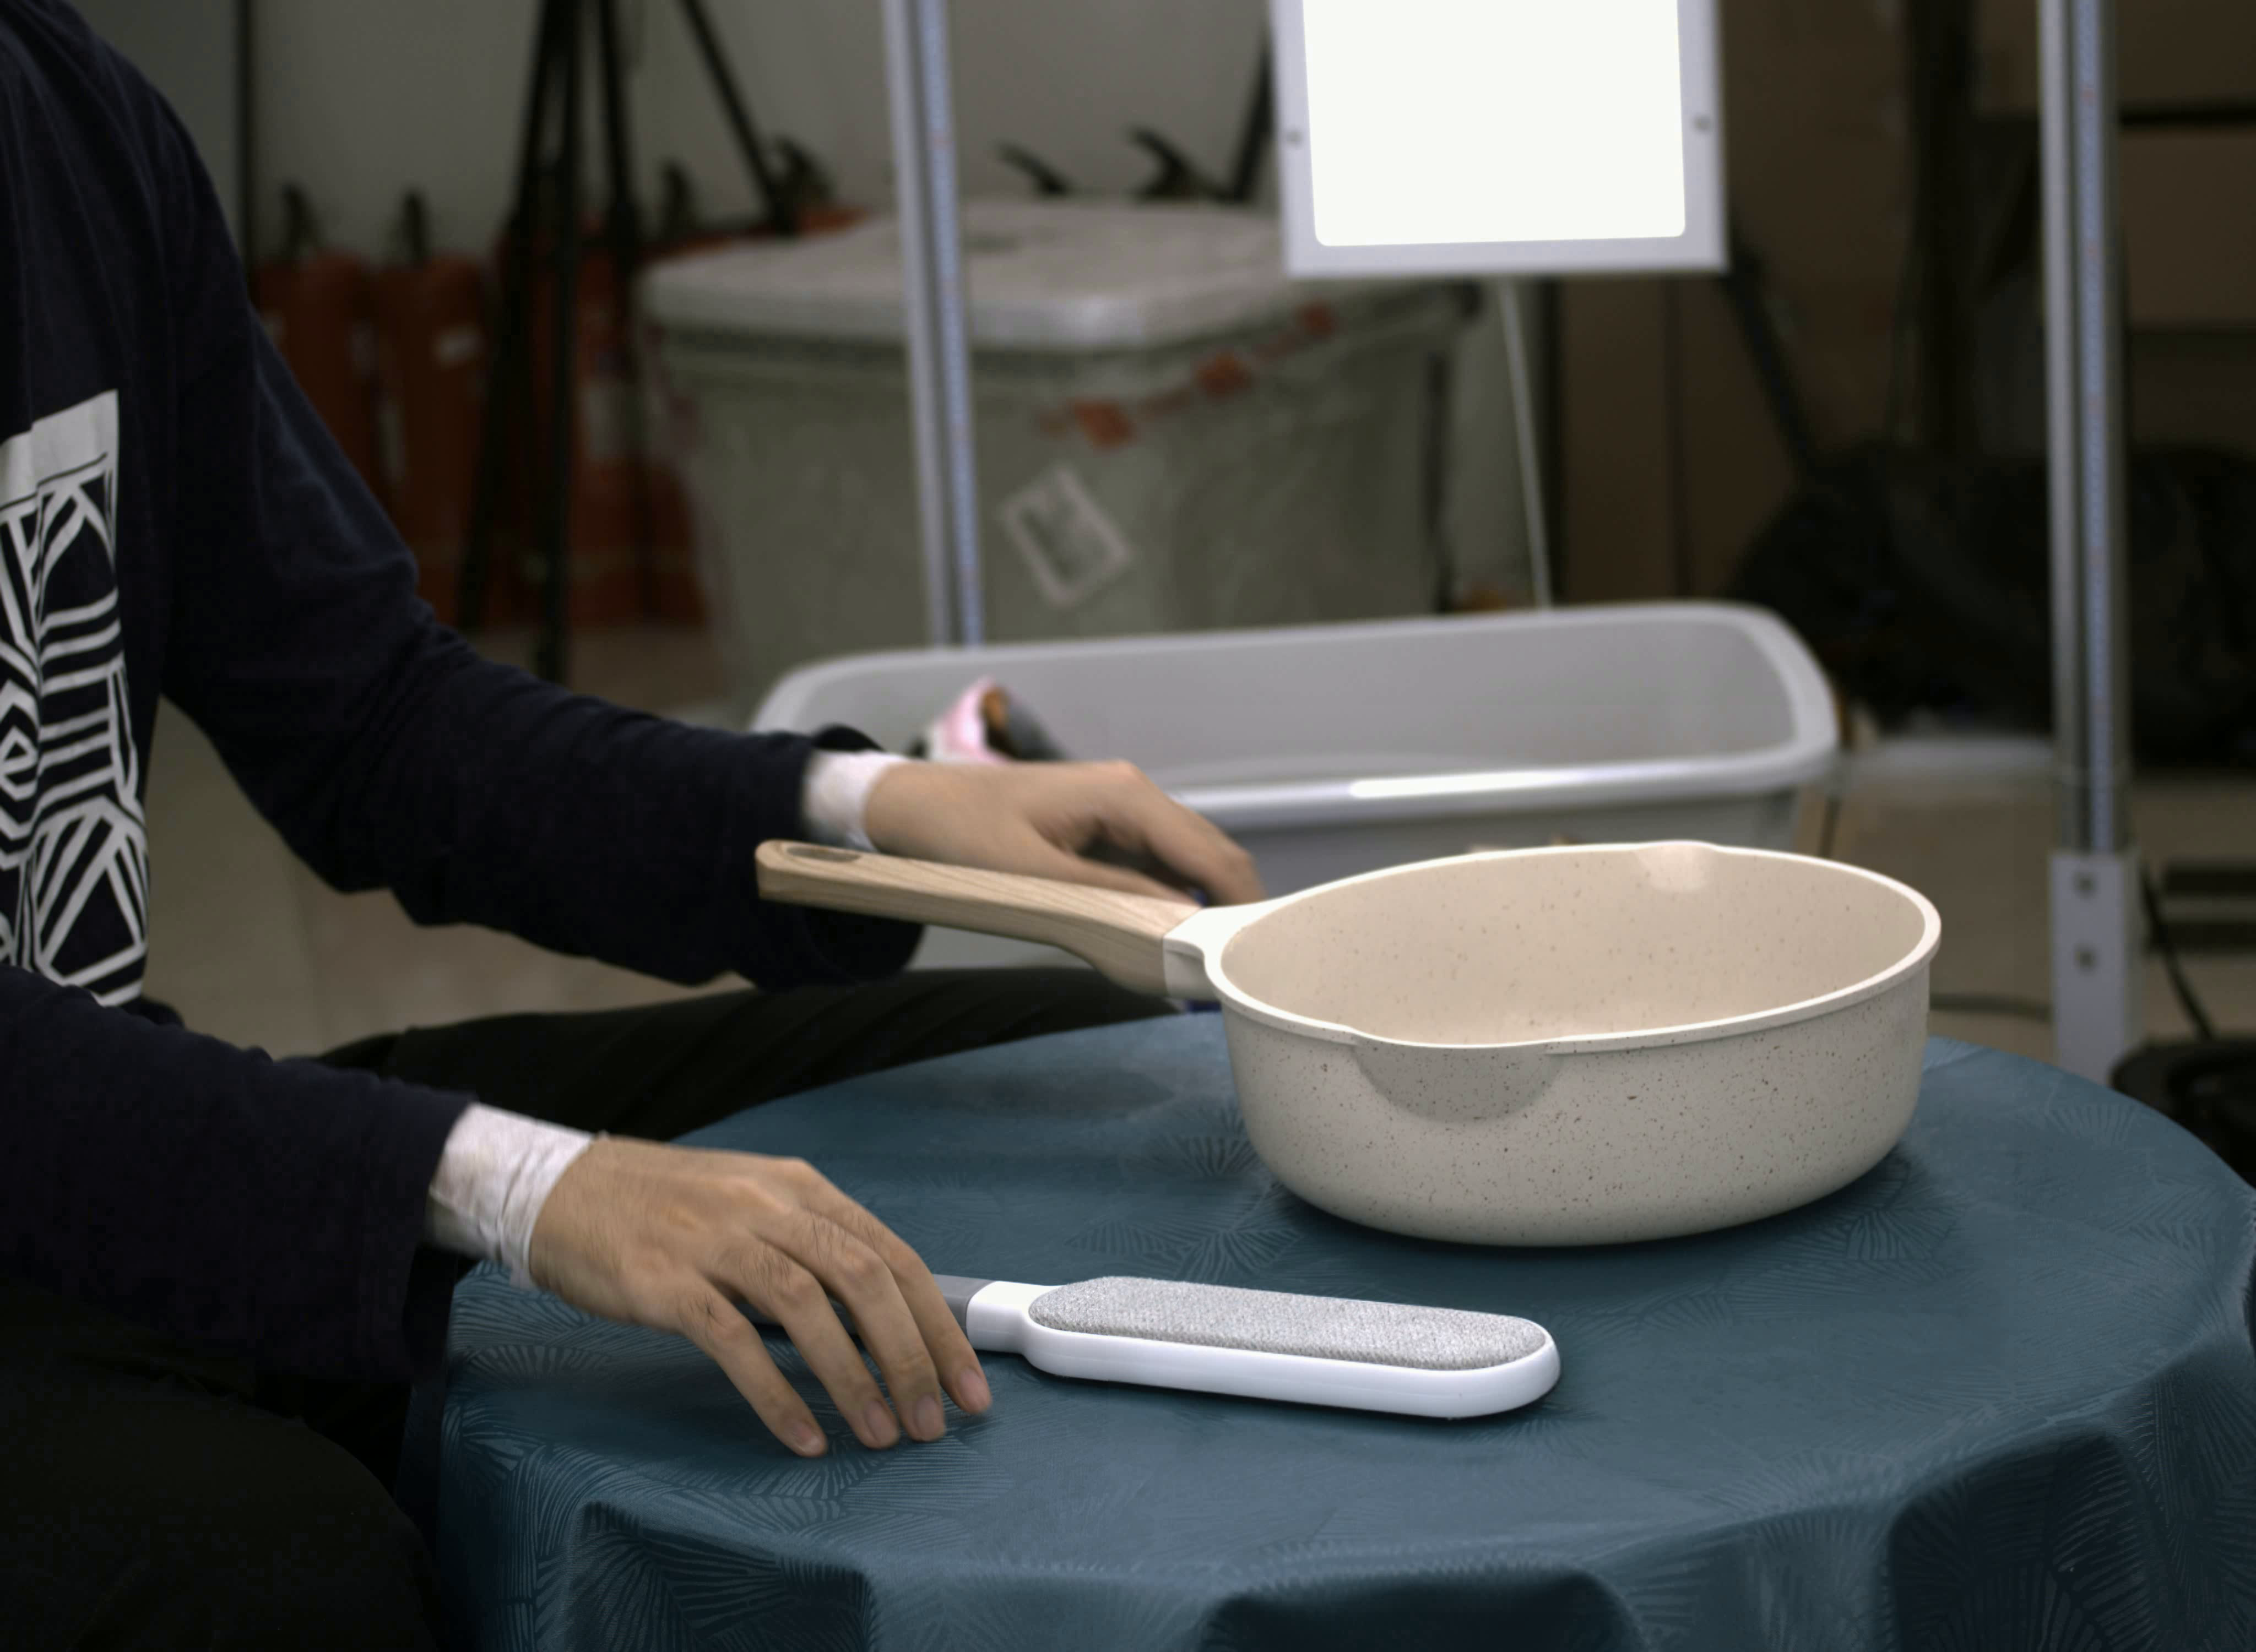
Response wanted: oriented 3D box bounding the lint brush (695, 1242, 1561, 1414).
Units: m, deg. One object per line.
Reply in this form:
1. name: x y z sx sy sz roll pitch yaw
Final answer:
1. lint brush: -0.006 0.154 1.734 0.315 0.021 0.059 3 21 32

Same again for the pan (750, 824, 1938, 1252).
1. pan: 0.070 0.065 1.921 0.442 0.102 0.258 1 18 25
